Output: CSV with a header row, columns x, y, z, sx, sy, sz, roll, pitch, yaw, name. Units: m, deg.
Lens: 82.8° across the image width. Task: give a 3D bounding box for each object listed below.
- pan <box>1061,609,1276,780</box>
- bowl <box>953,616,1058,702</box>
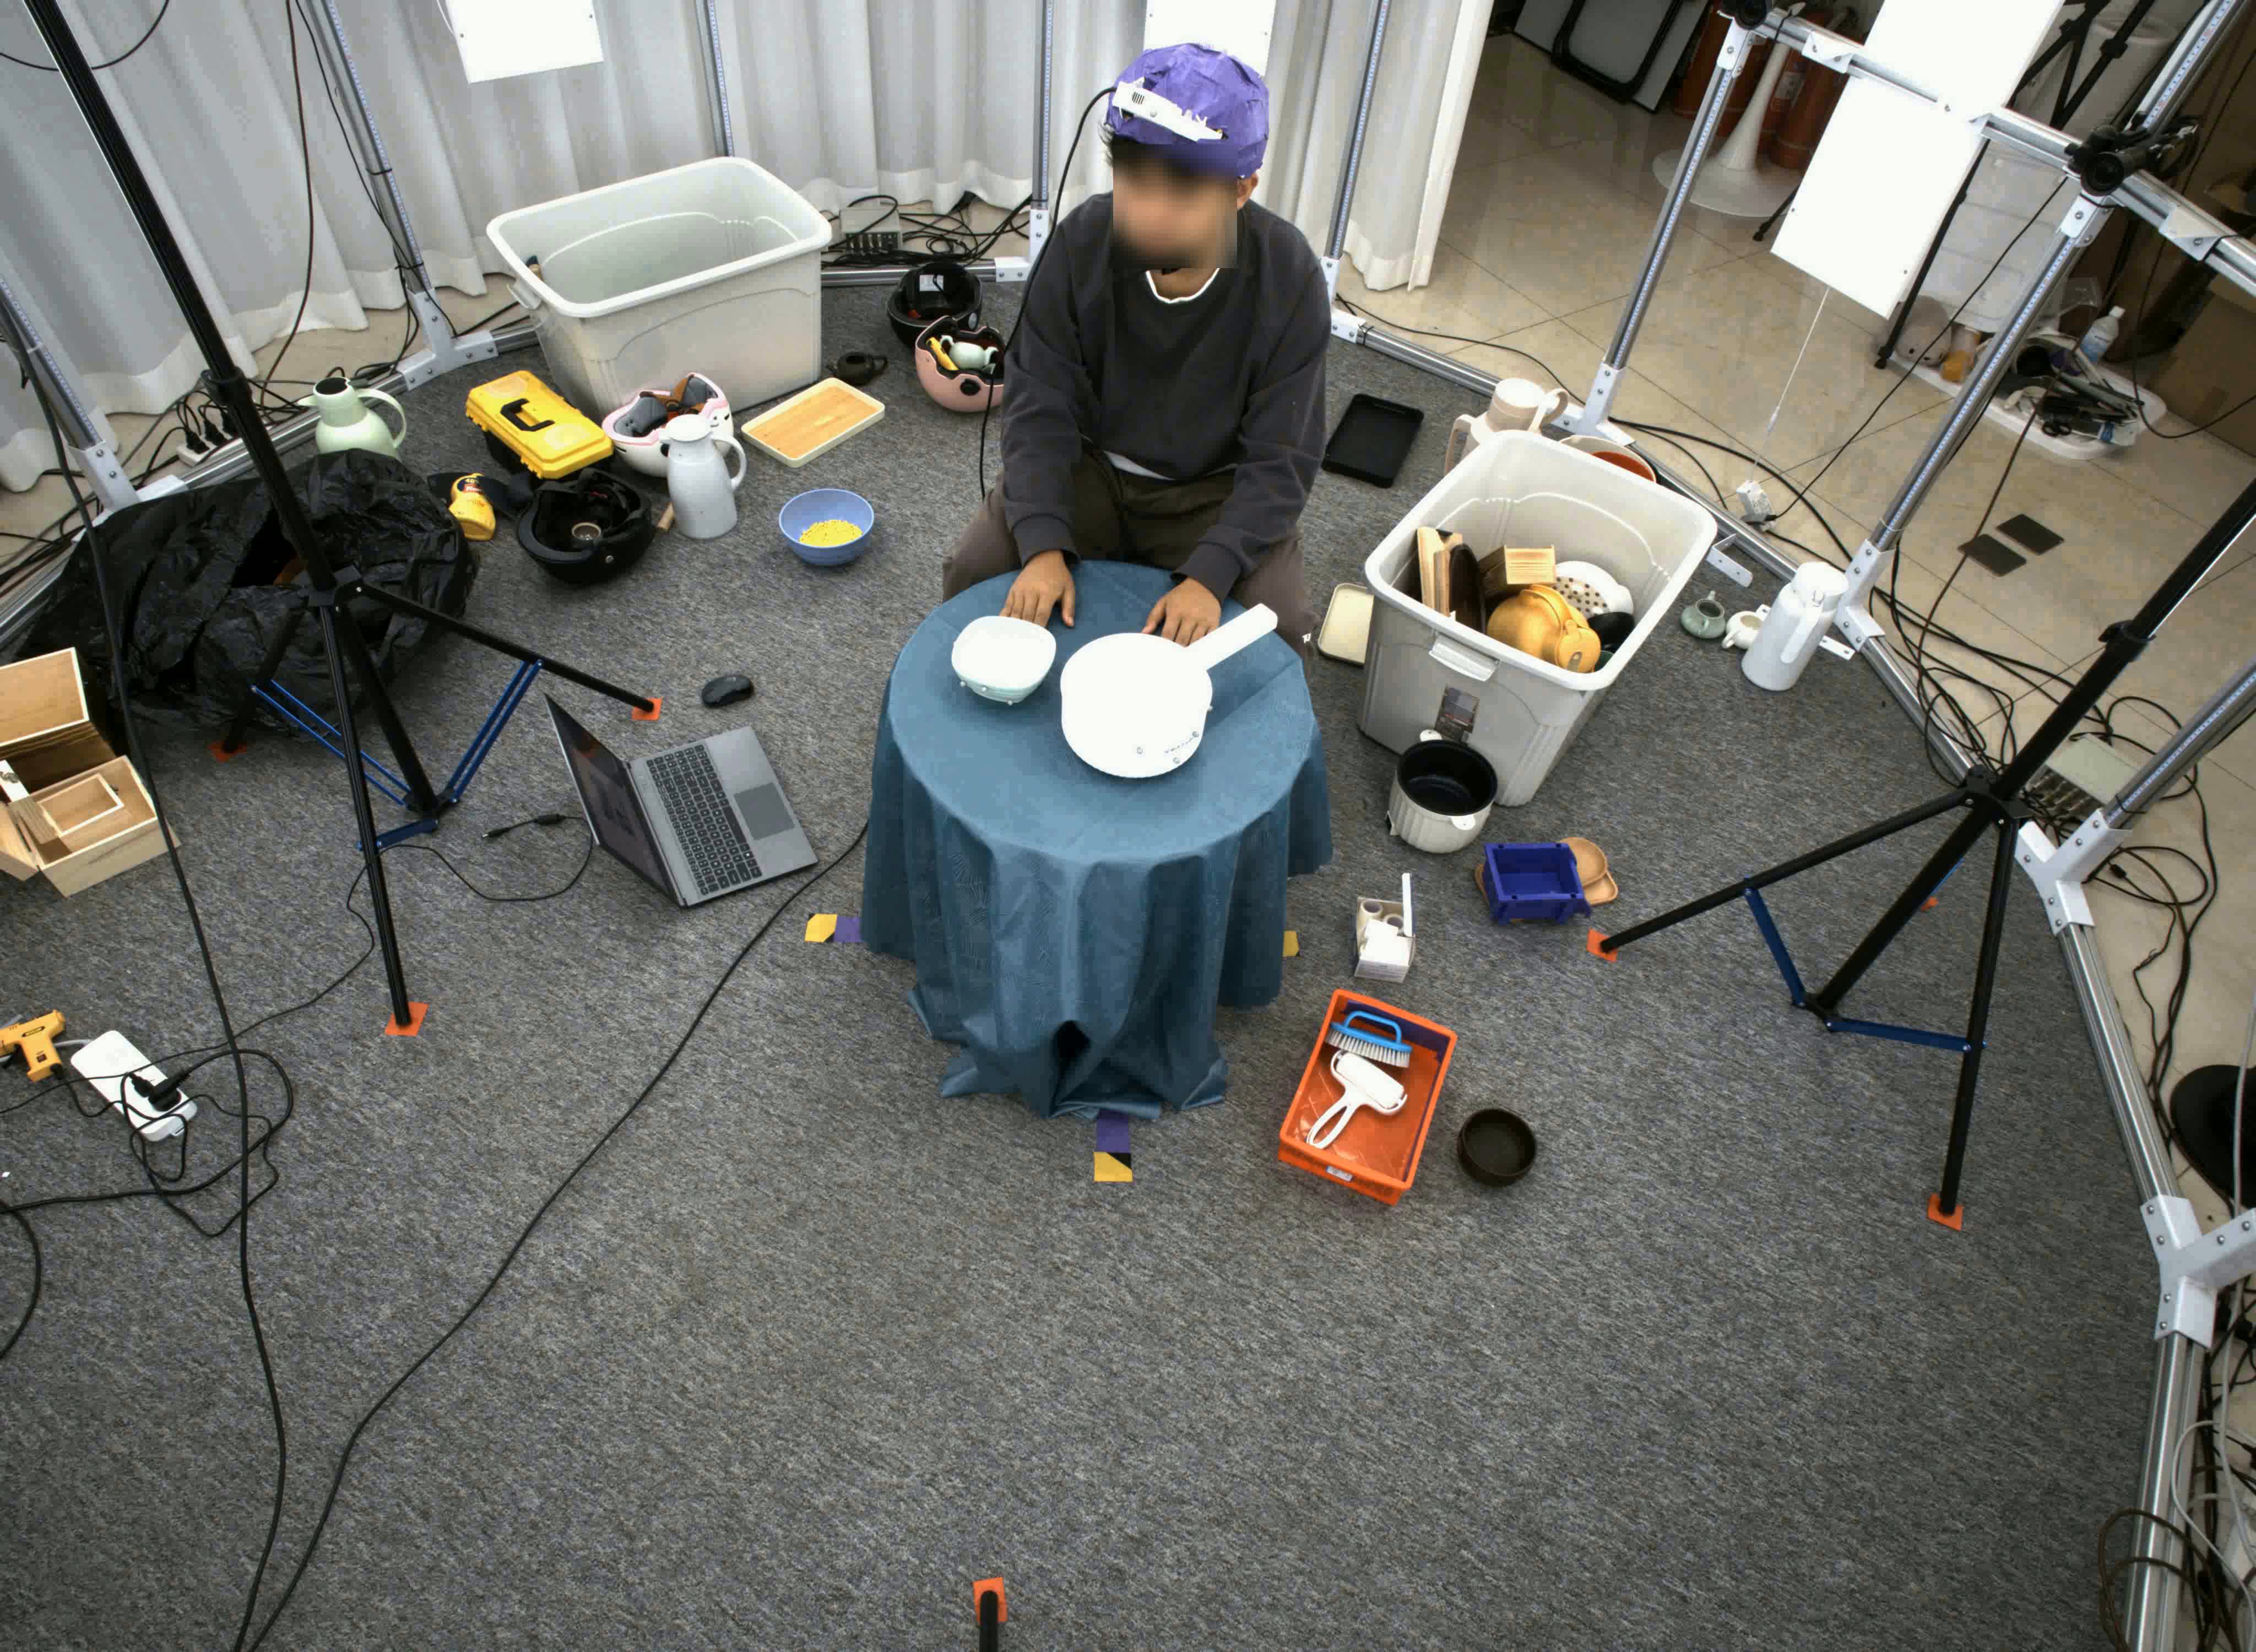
x,y,z,sx,sy,sz,roll,pitch,yaw,name
0.065,-0.191,1.780,0.357,0.099,0.204,-32,55,-30,pan
-0.171,-0.227,1.812,0.151,0.057,0.155,1,50,-2,bowl
